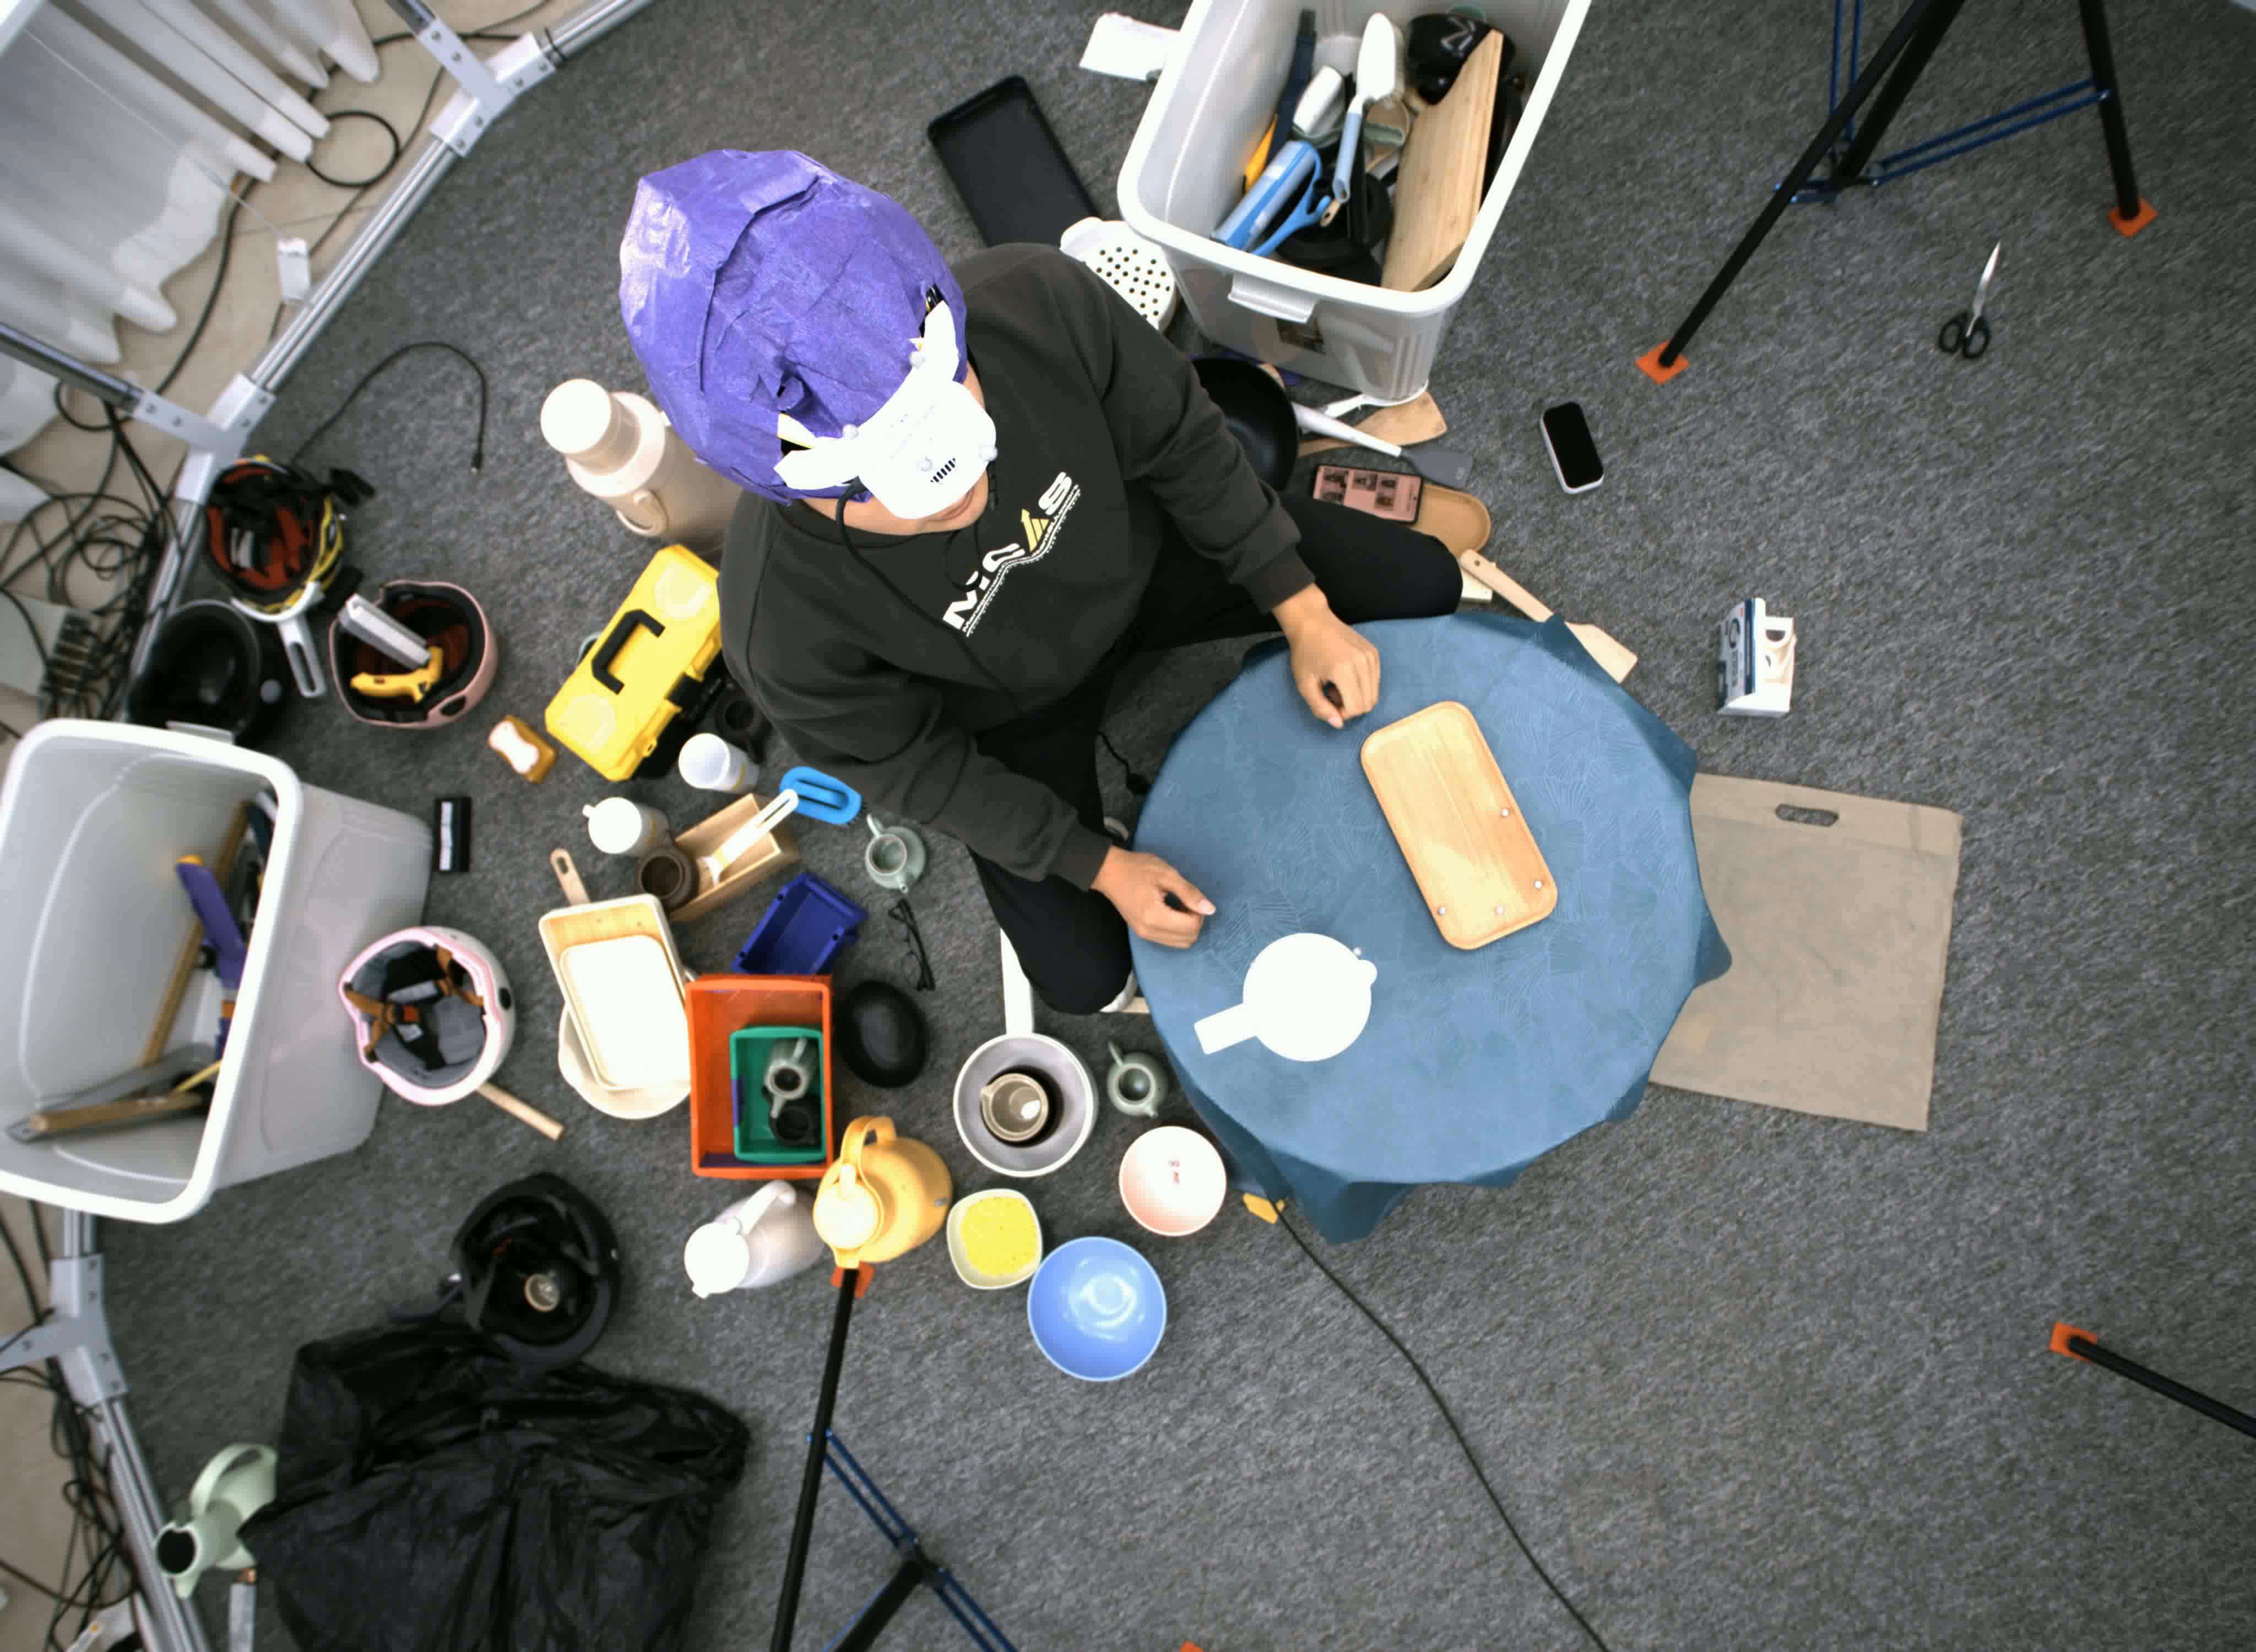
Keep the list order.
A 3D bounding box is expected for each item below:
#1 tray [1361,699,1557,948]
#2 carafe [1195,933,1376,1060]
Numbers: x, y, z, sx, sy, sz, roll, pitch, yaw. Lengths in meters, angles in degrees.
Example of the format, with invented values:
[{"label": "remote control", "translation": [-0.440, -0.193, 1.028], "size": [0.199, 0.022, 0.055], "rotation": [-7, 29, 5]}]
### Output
[{"label": "tray", "translation": [0.345, -0.005, 1.442], "size": [0.131, 0.023, 0.249], "rotation": [-23, 82, 6]}, {"label": "carafe", "translation": [0.159, 0.172, 1.340], "size": [0.174, 0.269, 0.123], "rotation": [-24, 82, 7]}]
